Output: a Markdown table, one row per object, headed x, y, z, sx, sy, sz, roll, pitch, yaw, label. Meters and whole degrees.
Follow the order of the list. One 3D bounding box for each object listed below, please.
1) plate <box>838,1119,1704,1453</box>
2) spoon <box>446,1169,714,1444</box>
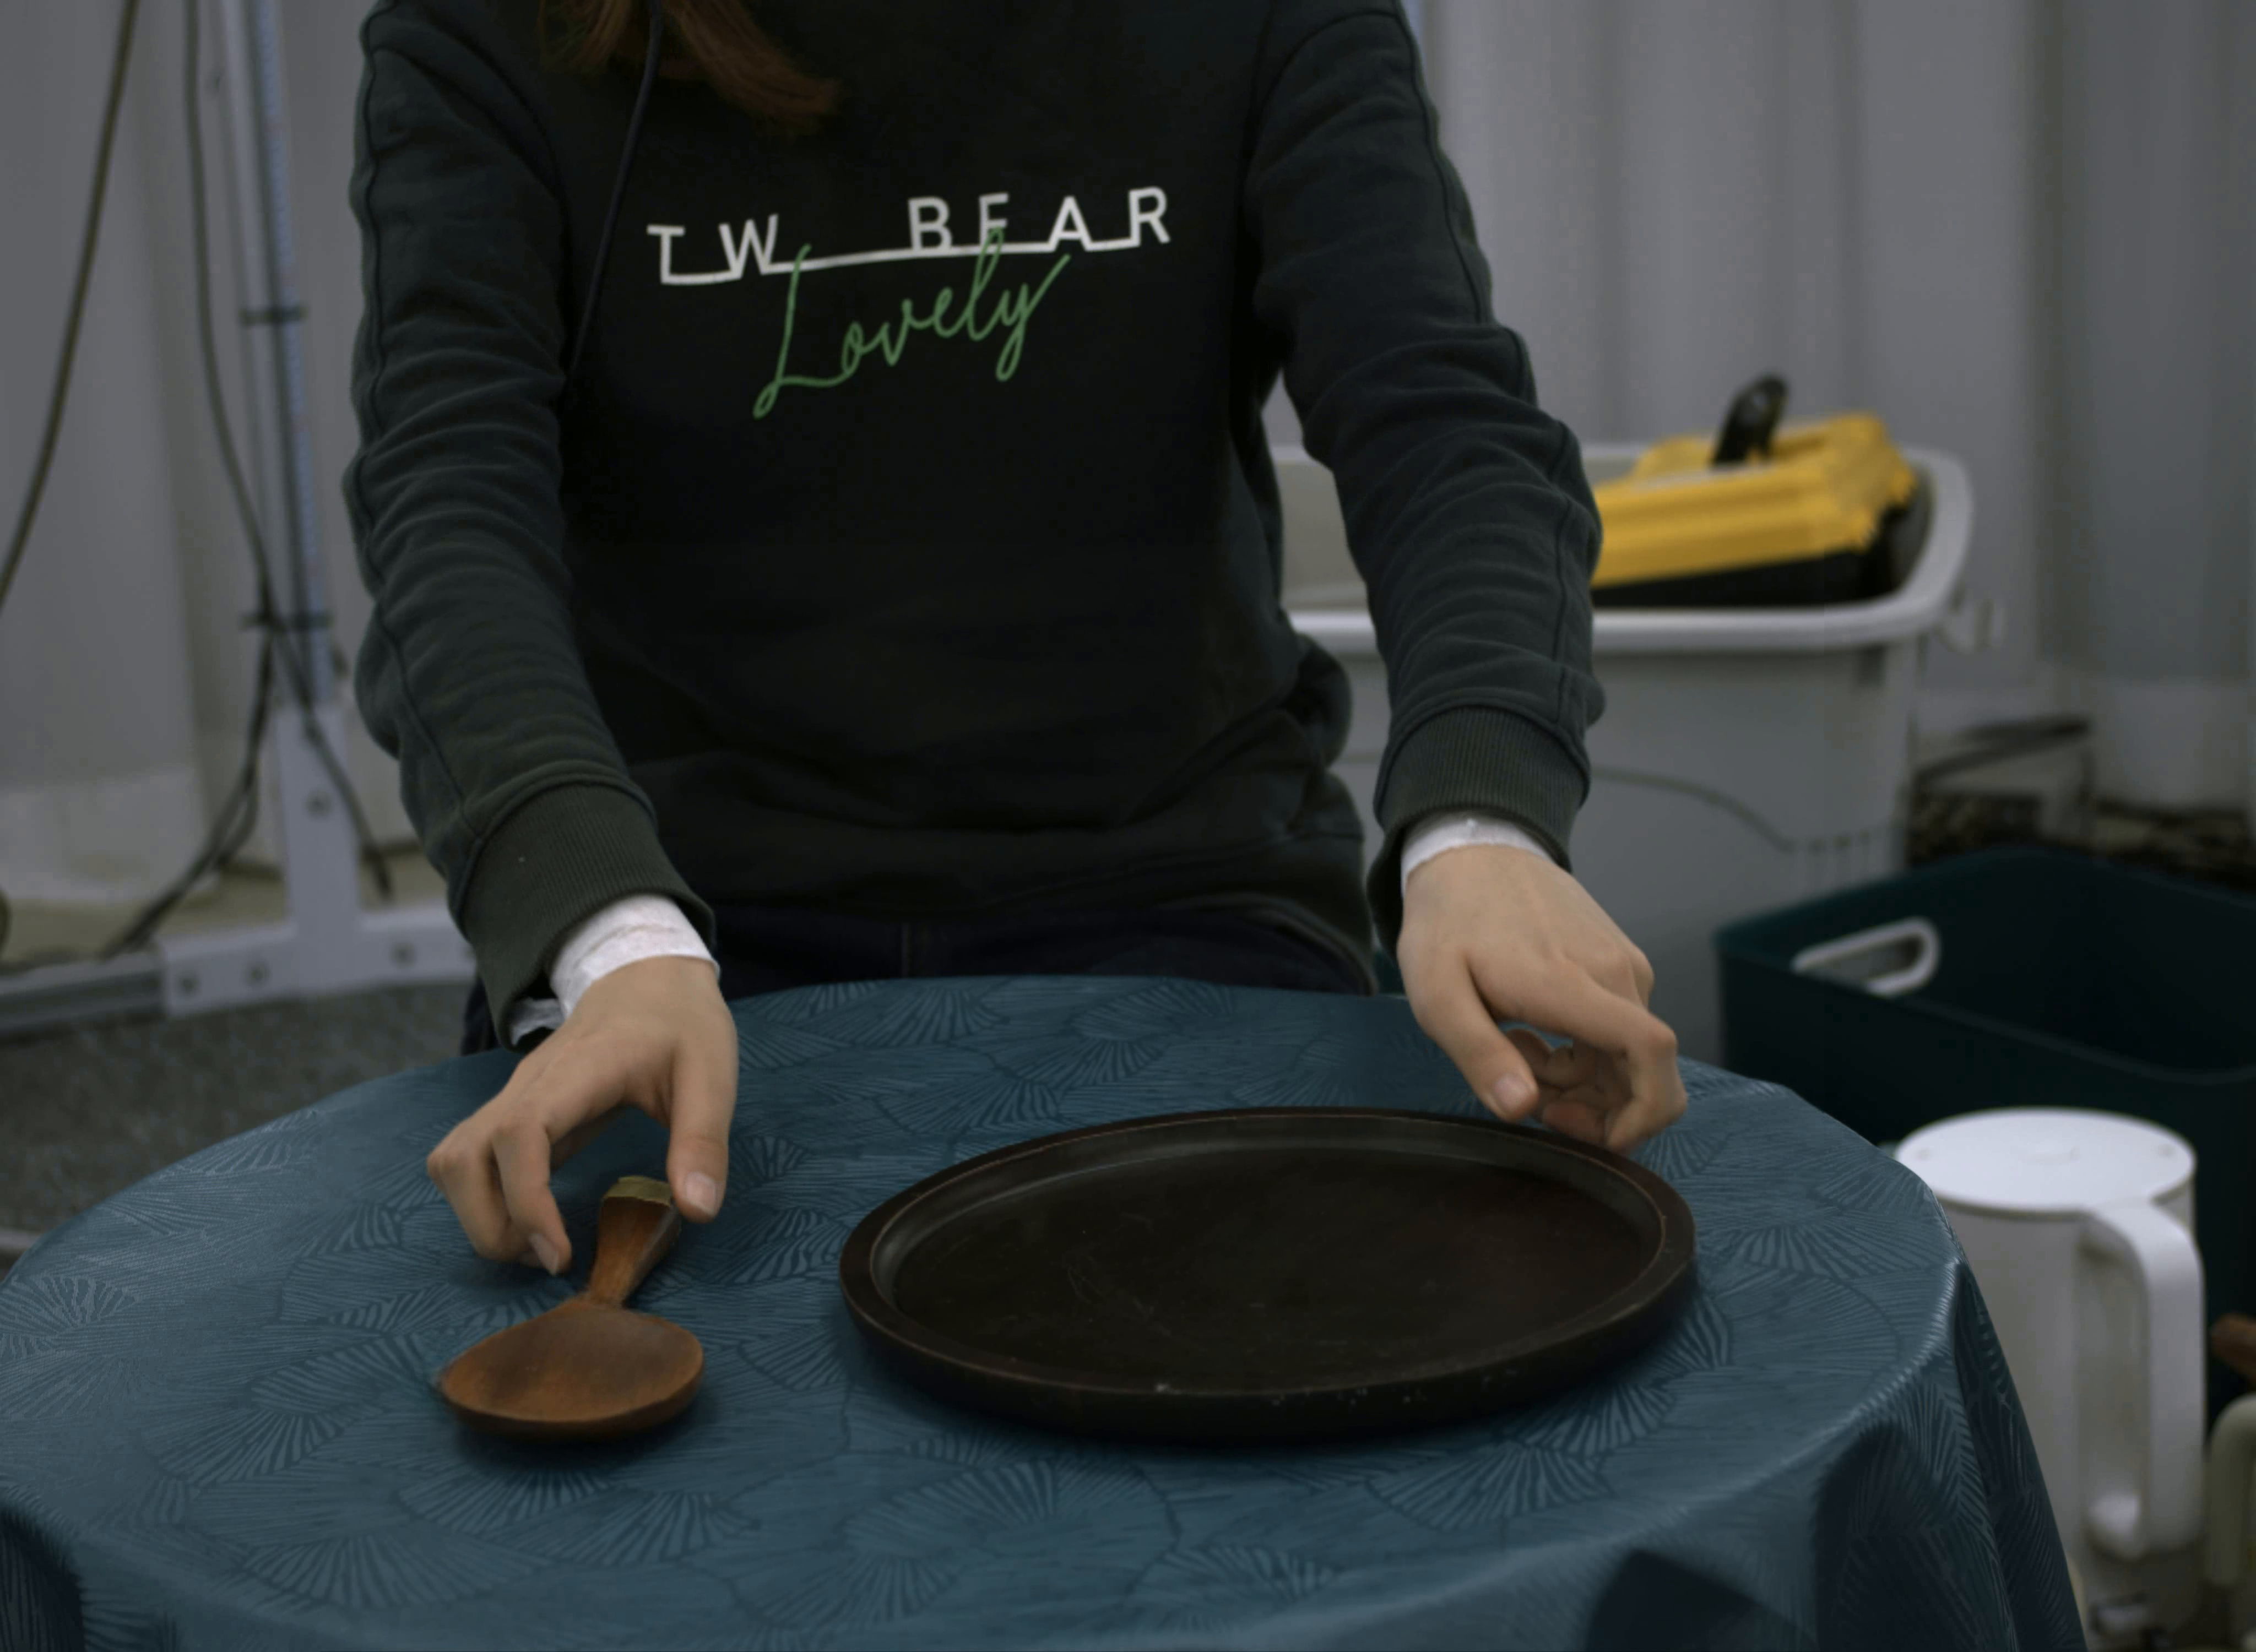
| x | y | z | sx | sy | sz | roll | pitch | yaw | label |
| --- | --- | --- | --- | --- | --- | --- | --- | --- | --- |
| 0.042 | 0.131 | 1.602 | 0.254 | 0.029 | 0.256 | -2 | 16 | 0 | plate |
| -0.153 | 0.142 | 1.607 | 0.075 | 0.017 | 0.217 | -2 | 15 | 2 | spoon |
